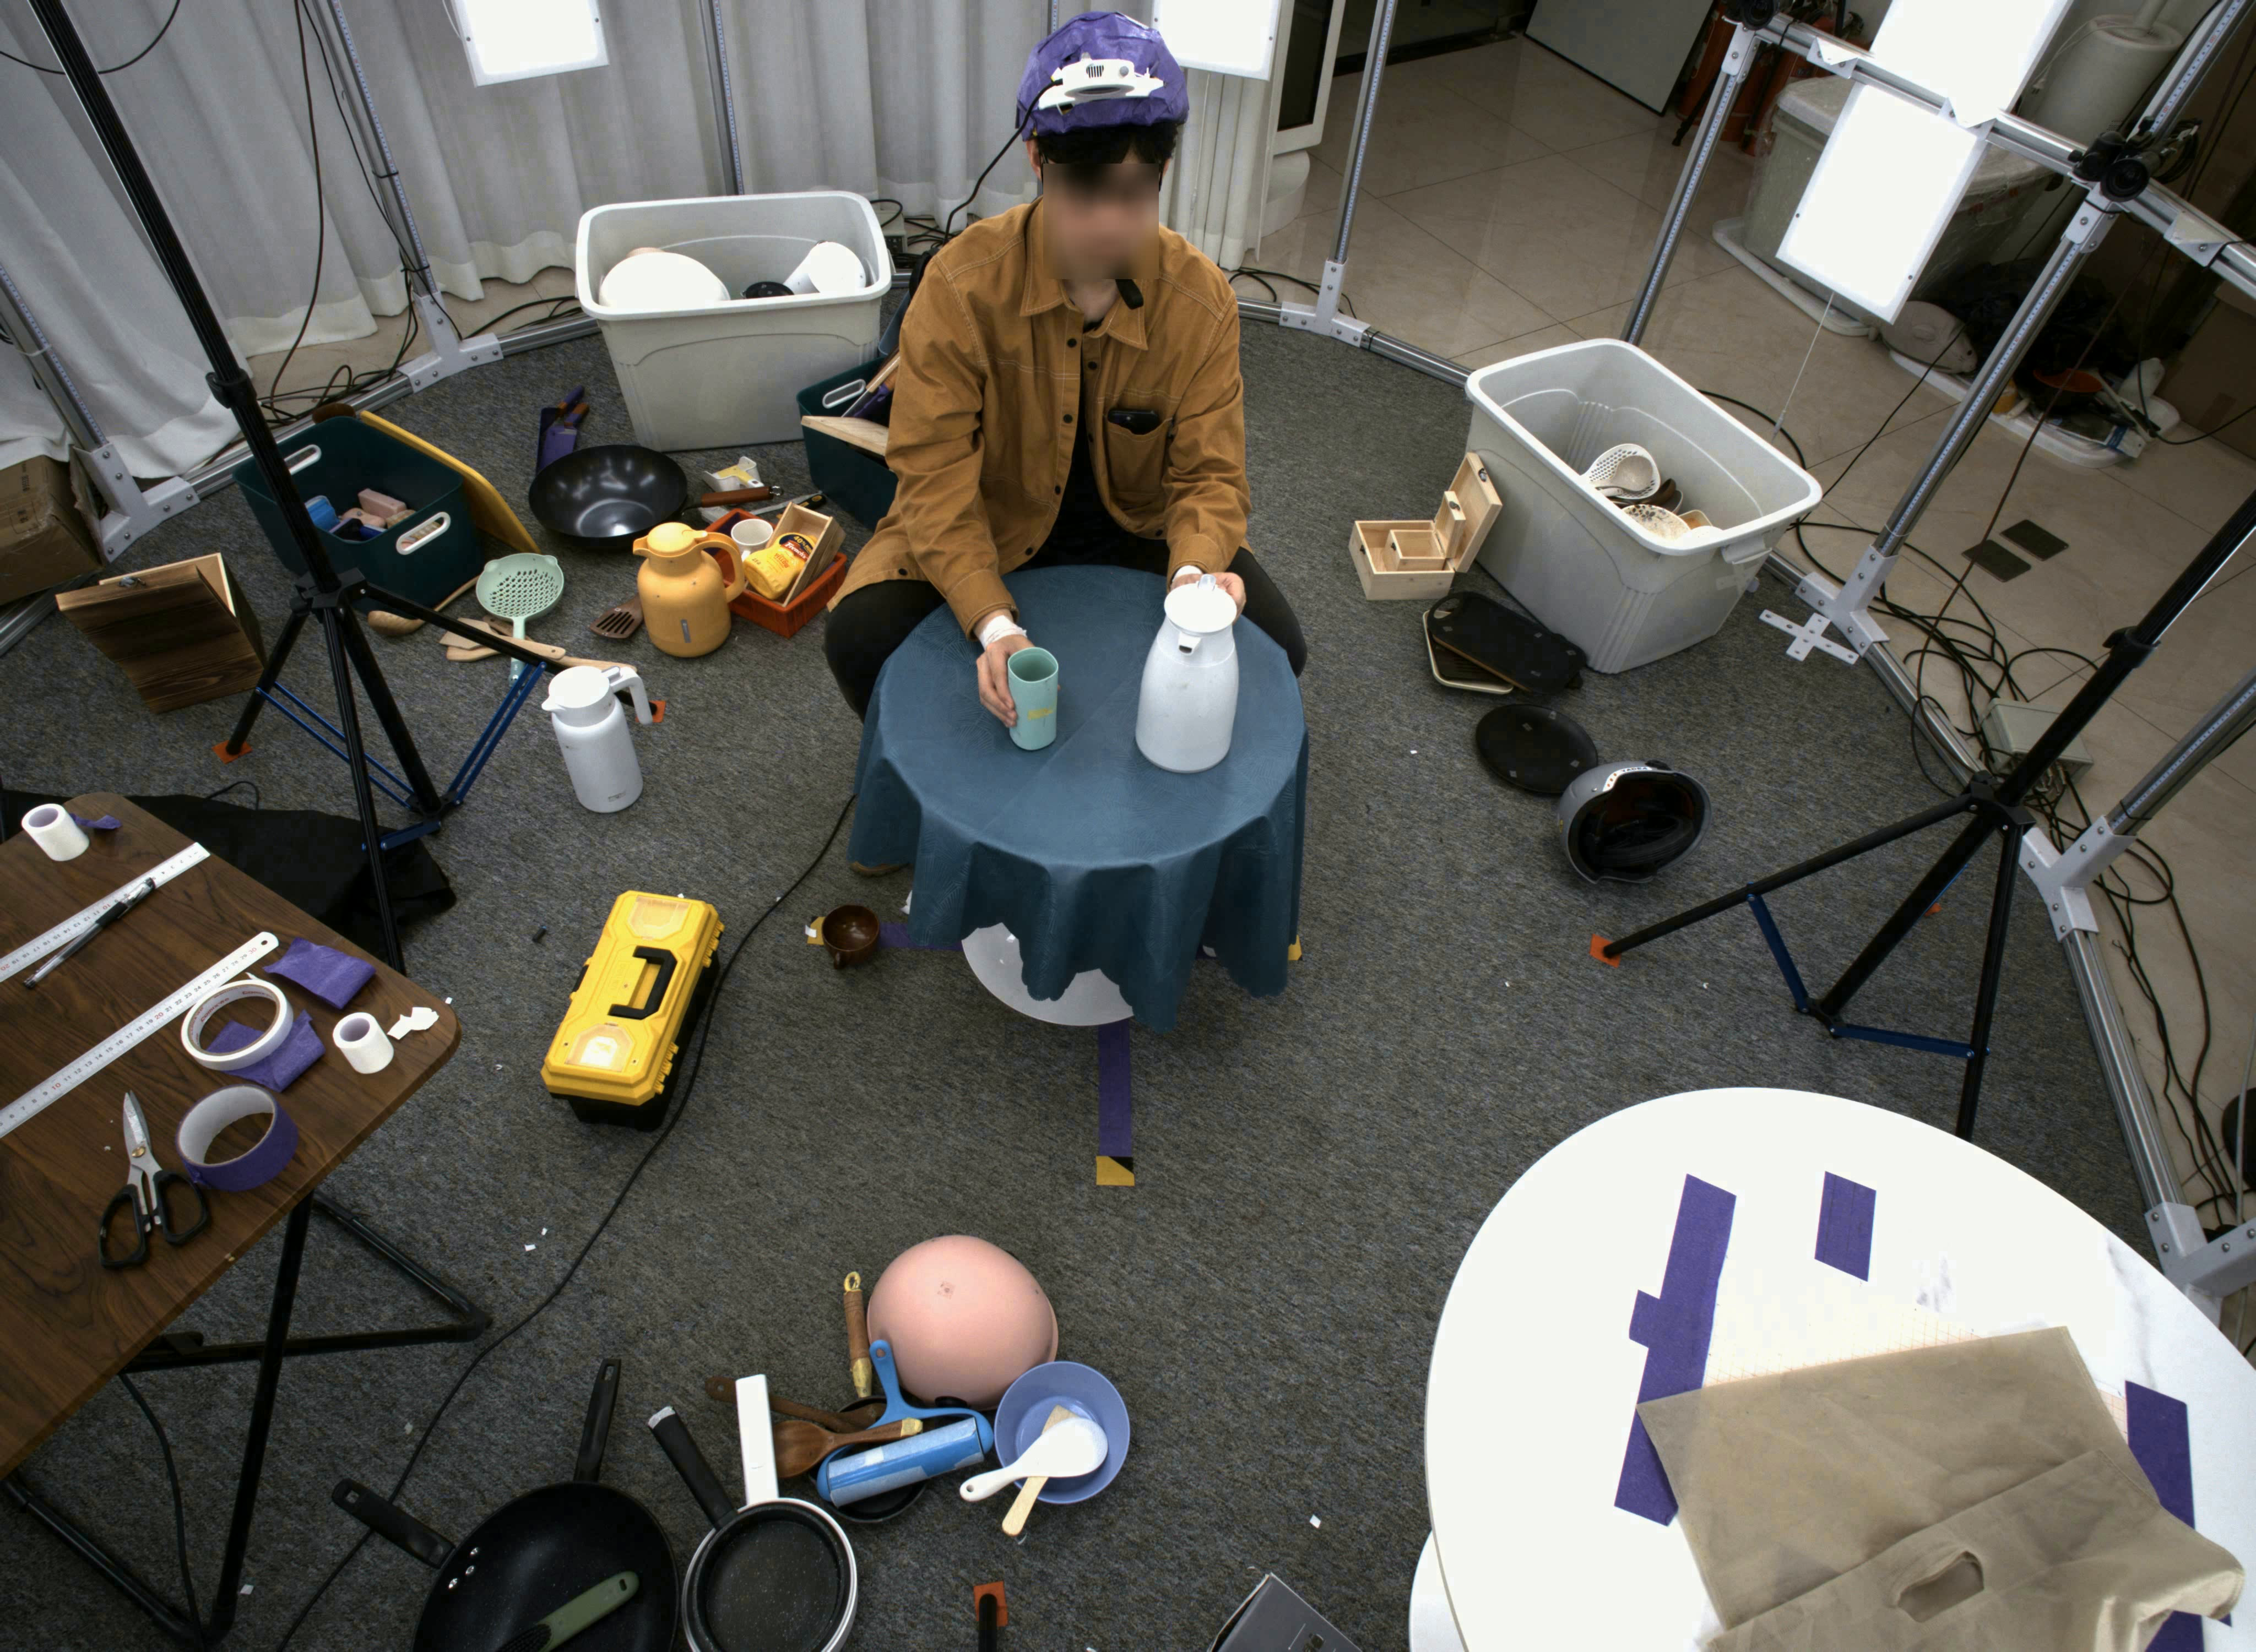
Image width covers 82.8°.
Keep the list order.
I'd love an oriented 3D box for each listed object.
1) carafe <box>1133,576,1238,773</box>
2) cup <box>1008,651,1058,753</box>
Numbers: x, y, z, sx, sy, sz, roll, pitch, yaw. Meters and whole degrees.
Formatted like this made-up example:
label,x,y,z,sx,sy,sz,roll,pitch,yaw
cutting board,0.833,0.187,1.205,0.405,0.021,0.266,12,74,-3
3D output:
label,x,y,z,sx,sy,sz,roll,pitch,yaw
carafe,0.088,-0.213,1.702,0.133,0.242,0.171,17,49,9
cup,-0.127,-0.166,1.723,0.066,0.129,0.068,2,50,-2
